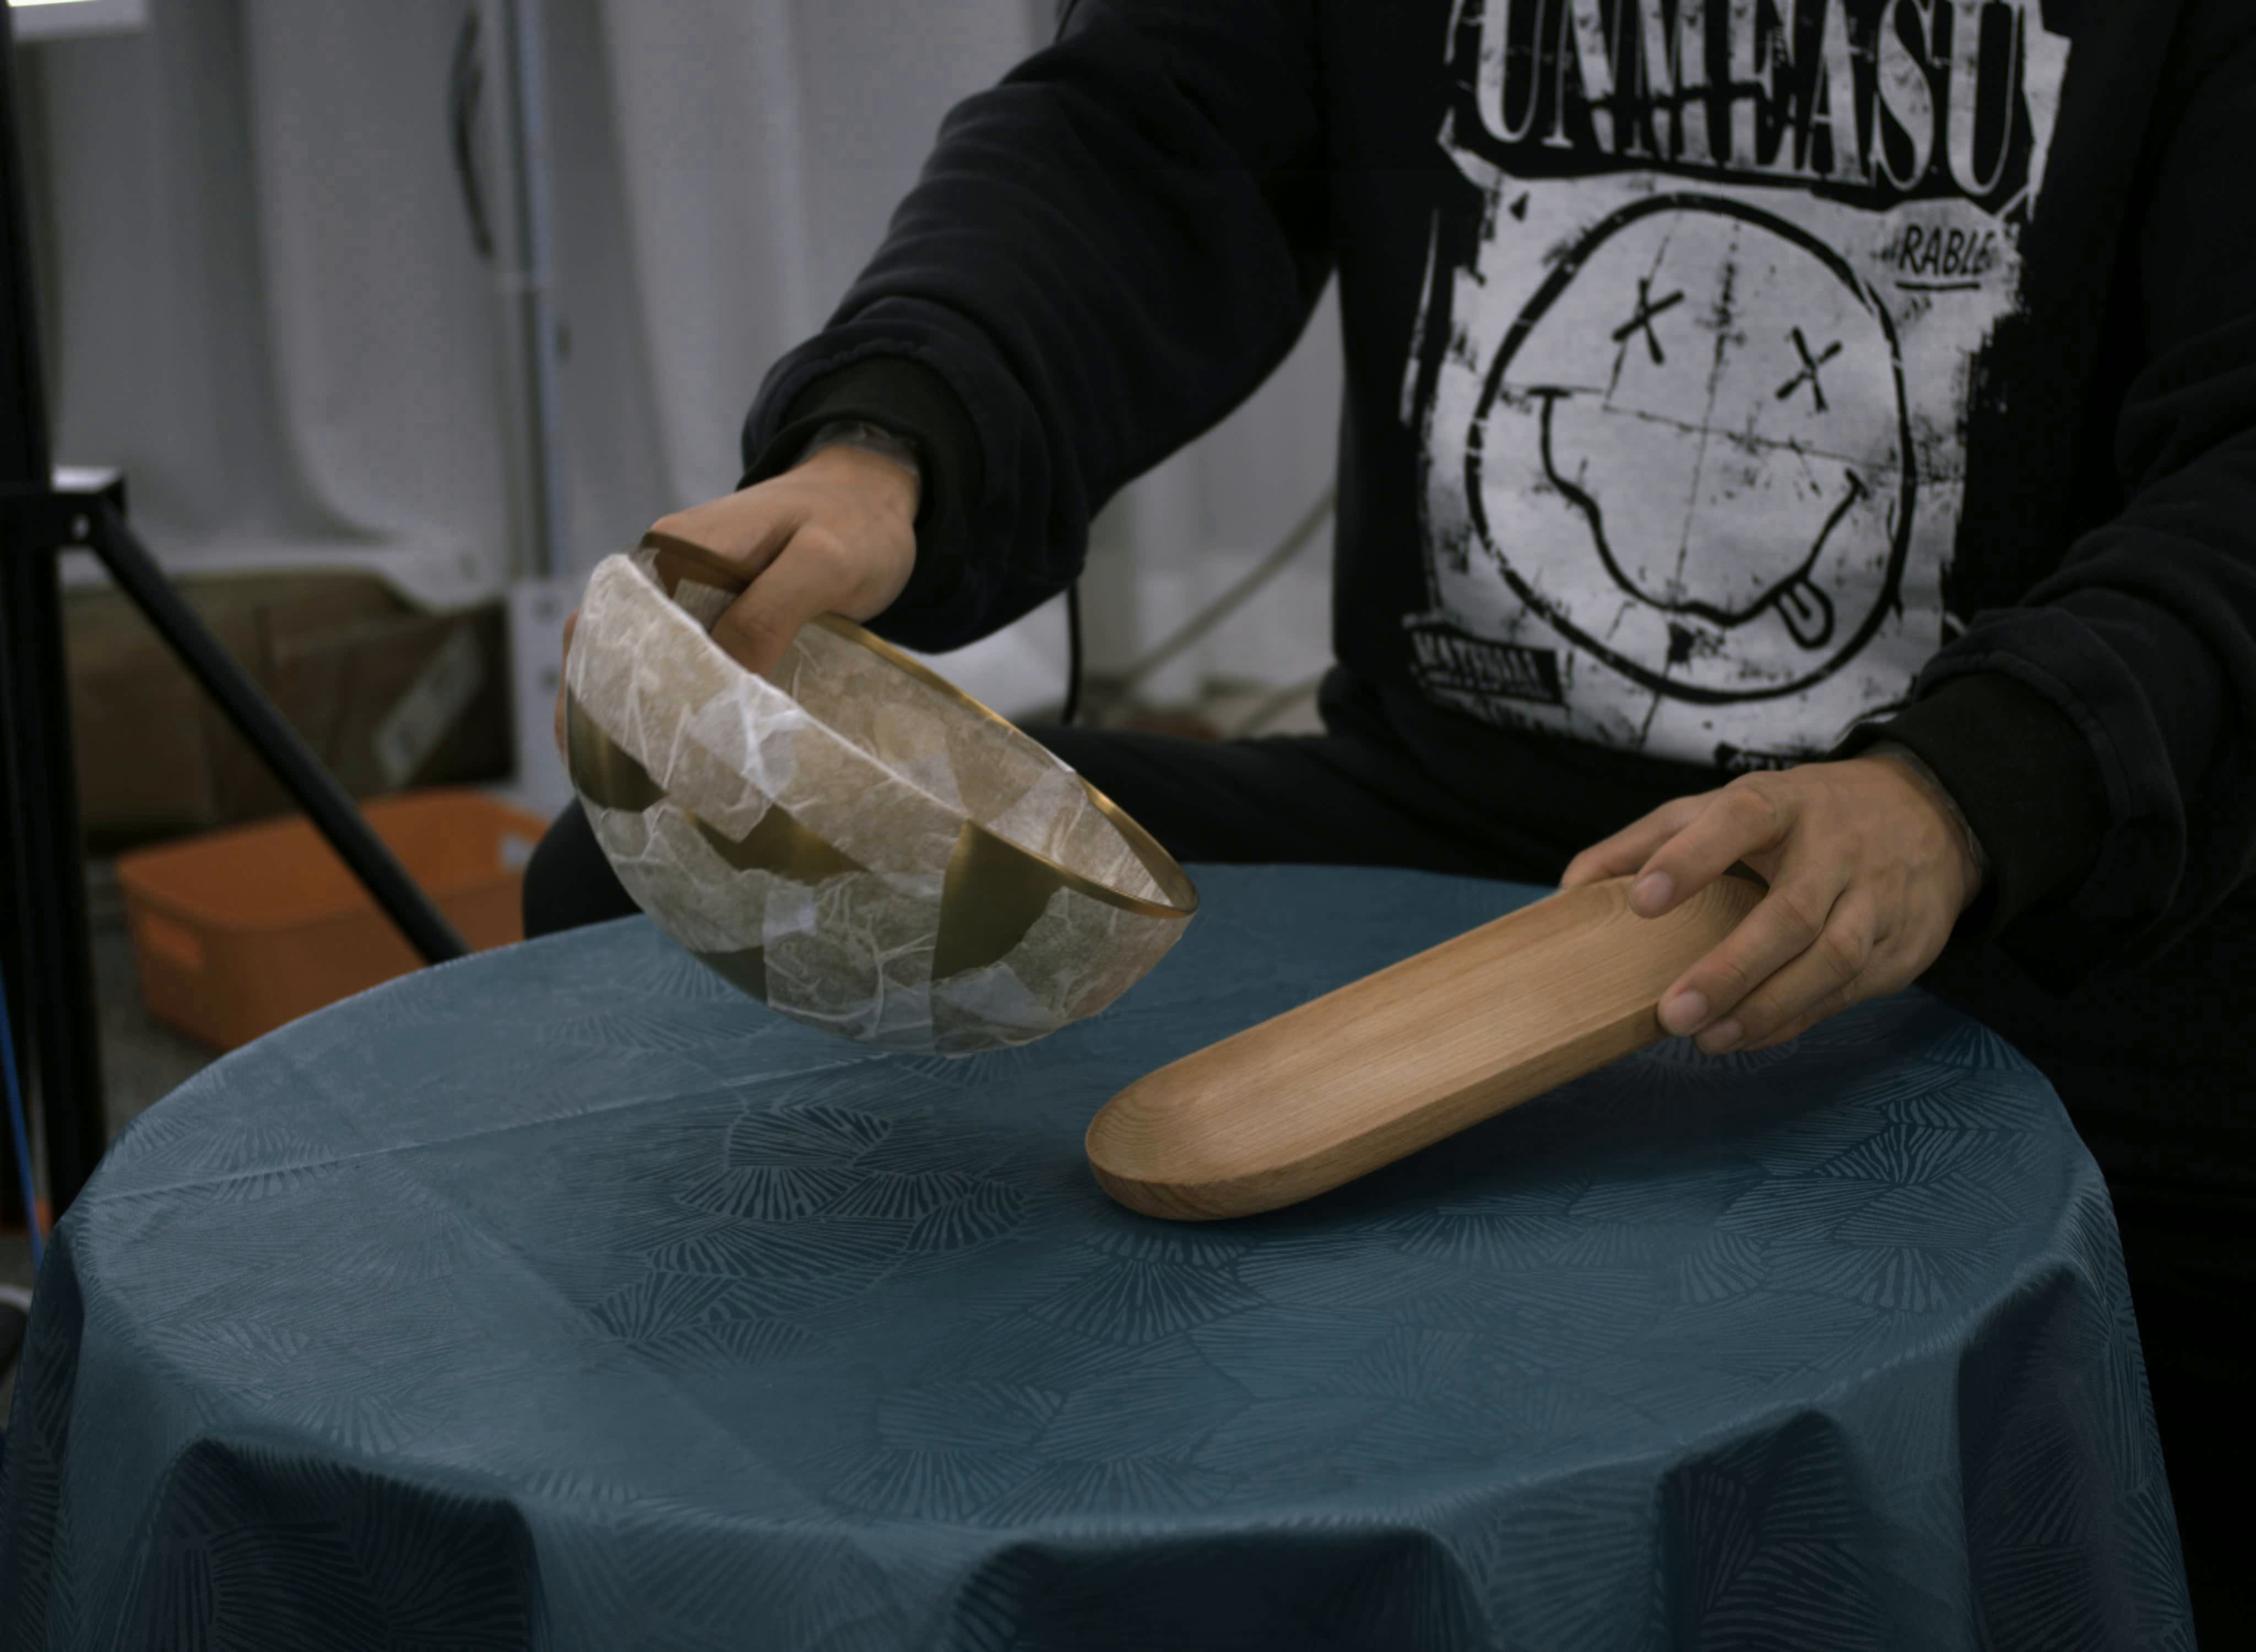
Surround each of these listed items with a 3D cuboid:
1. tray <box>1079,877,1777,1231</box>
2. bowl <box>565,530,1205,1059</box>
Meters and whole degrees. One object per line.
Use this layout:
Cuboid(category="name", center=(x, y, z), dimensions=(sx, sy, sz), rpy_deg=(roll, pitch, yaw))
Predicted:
Cuboid(category="tray", center=(0.091, 0.067, 1.578), dimensions=(0.228, 0.020, 0.104), rpy_deg=(-25, 20, -20))
Cuboid(category="bowl", center=(-0.082, 0.007, 1.553), dimensions=(0.213, 0.095, 0.215), rpy_deg=(31, 8, -7))
